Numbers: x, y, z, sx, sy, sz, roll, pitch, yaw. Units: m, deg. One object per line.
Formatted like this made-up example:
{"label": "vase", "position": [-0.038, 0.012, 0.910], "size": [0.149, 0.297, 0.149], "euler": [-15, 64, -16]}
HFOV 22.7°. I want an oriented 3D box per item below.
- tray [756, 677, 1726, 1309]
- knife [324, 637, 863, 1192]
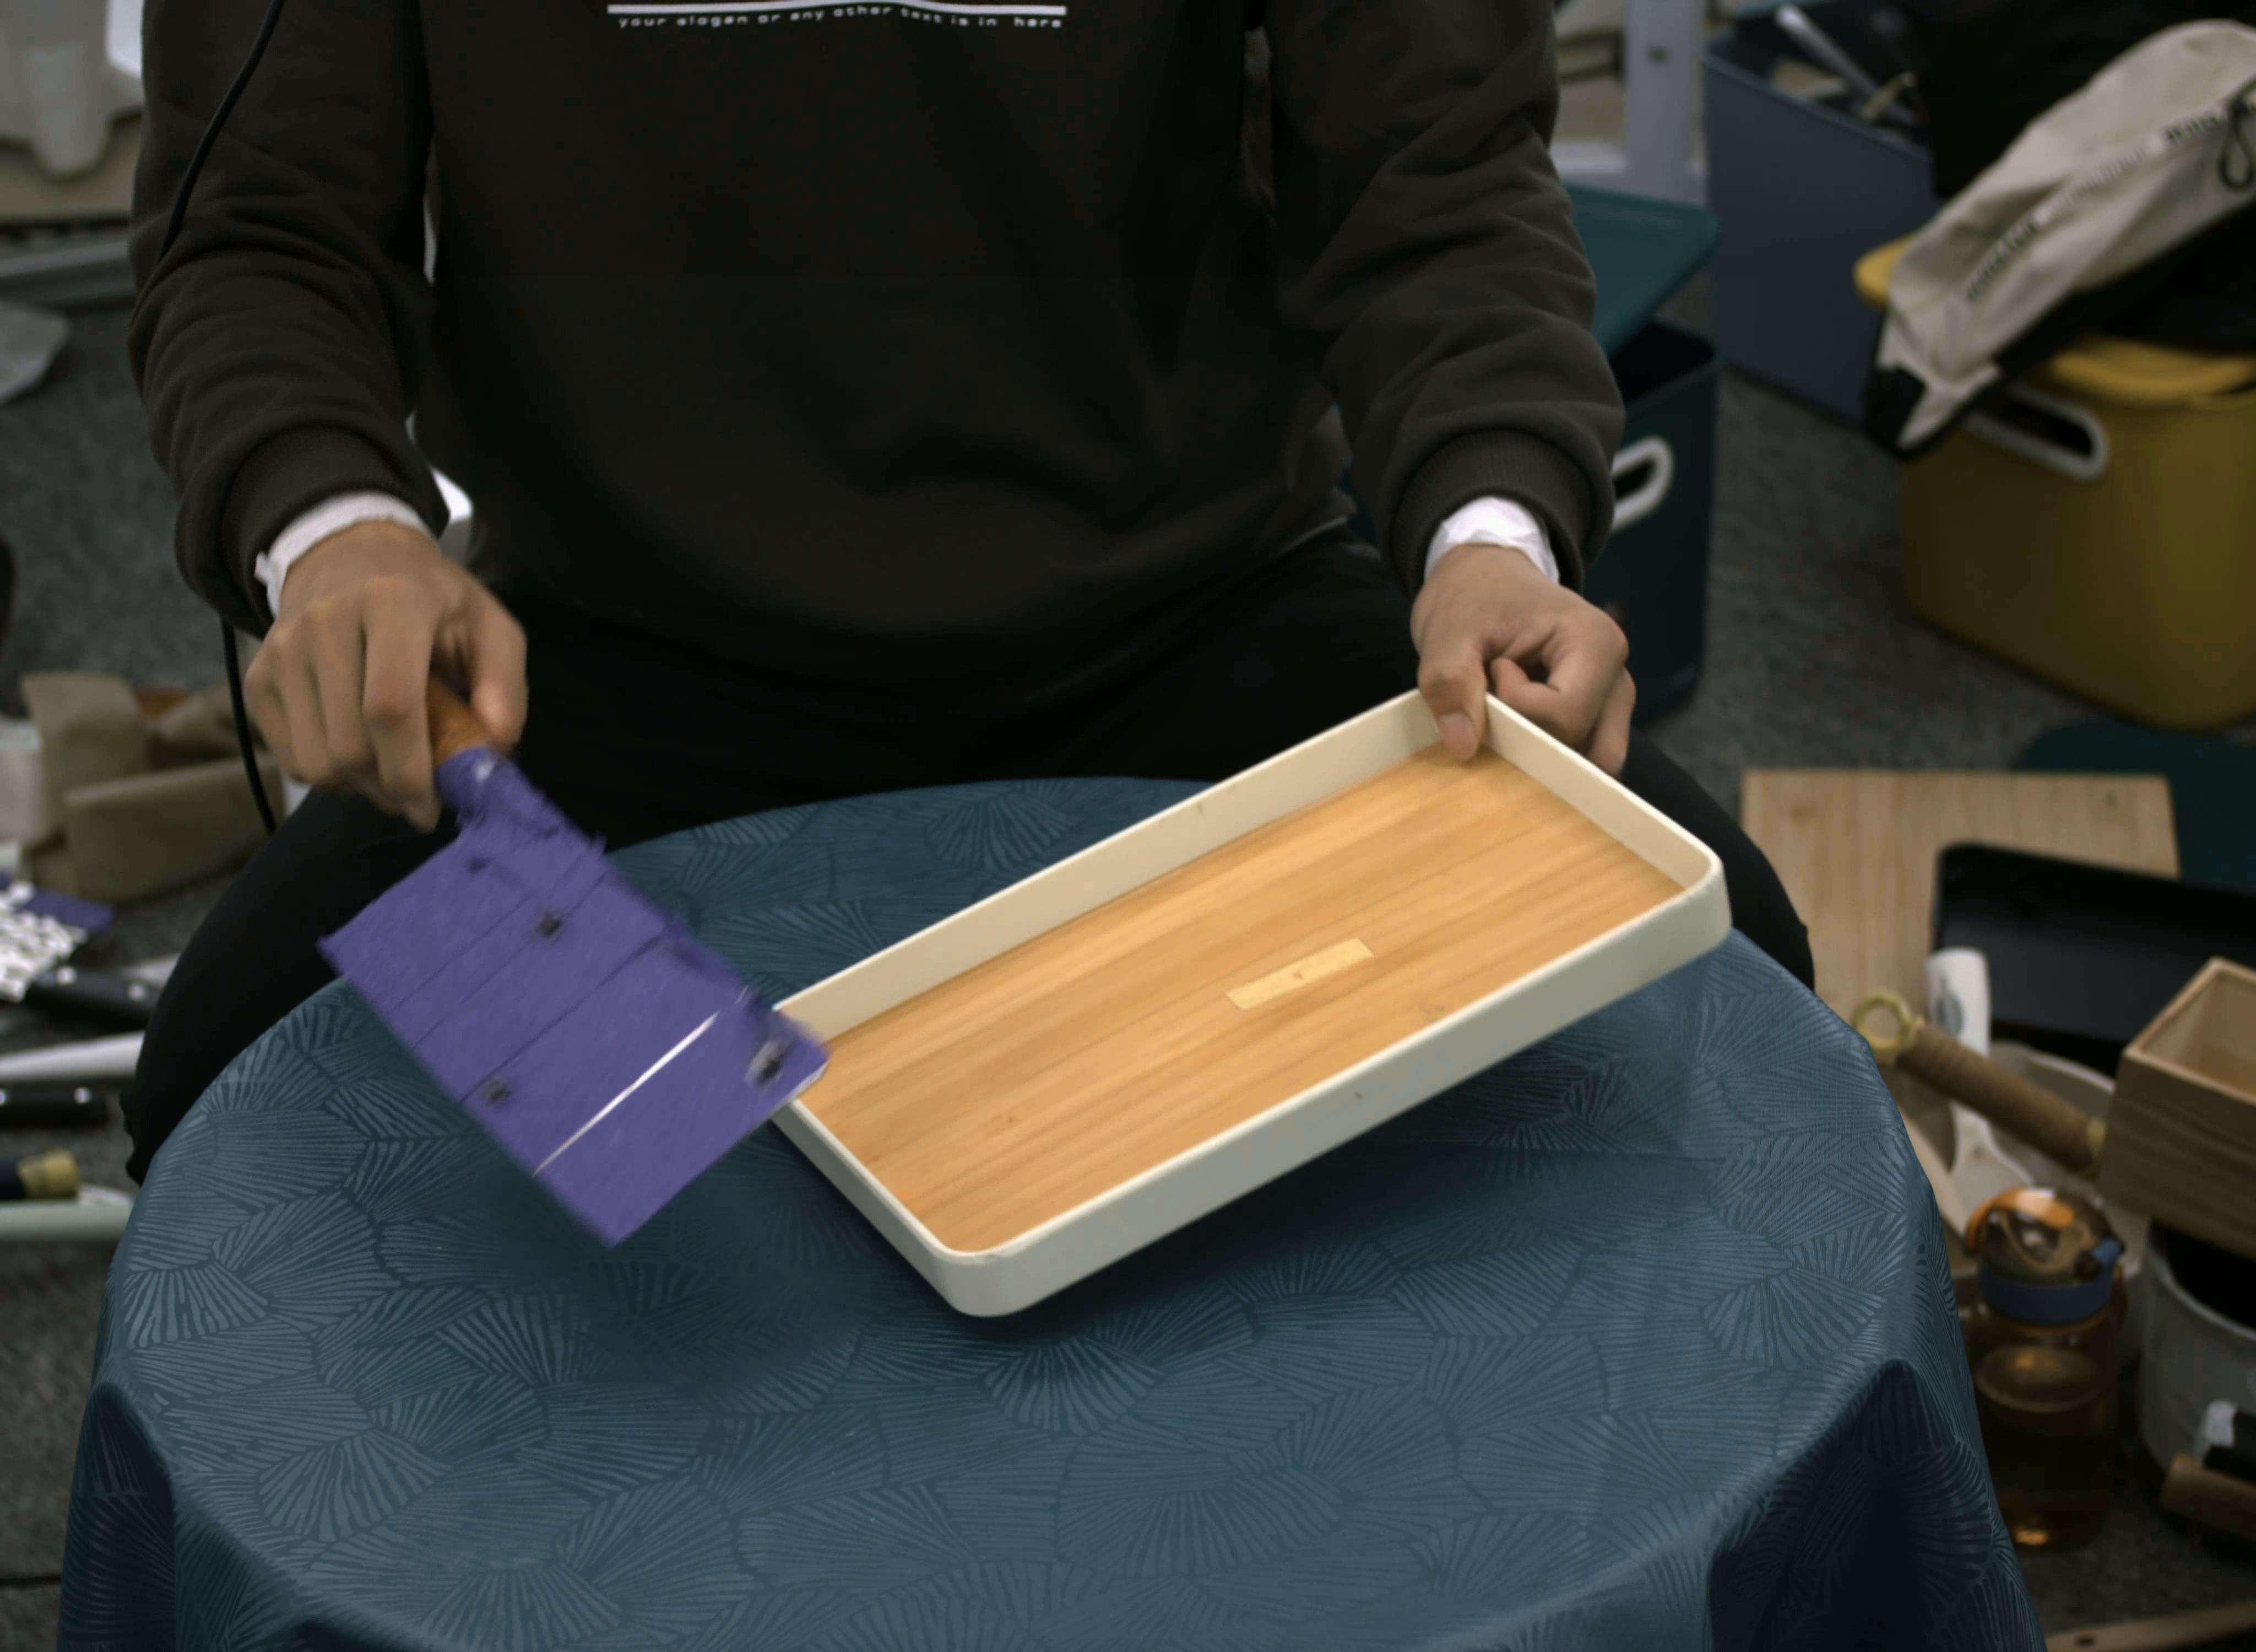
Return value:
{"label": "tray", "position": [0.033, 0.051, 1.885], "size": [0.302, 0.027, 0.192], "euler": [-26, 31, -17]}
{"label": "knife", "position": [-0.206, 0.025, 1.846], "size": [0.104, 0.032, 0.316], "euler": [-38, 40, -14]}
